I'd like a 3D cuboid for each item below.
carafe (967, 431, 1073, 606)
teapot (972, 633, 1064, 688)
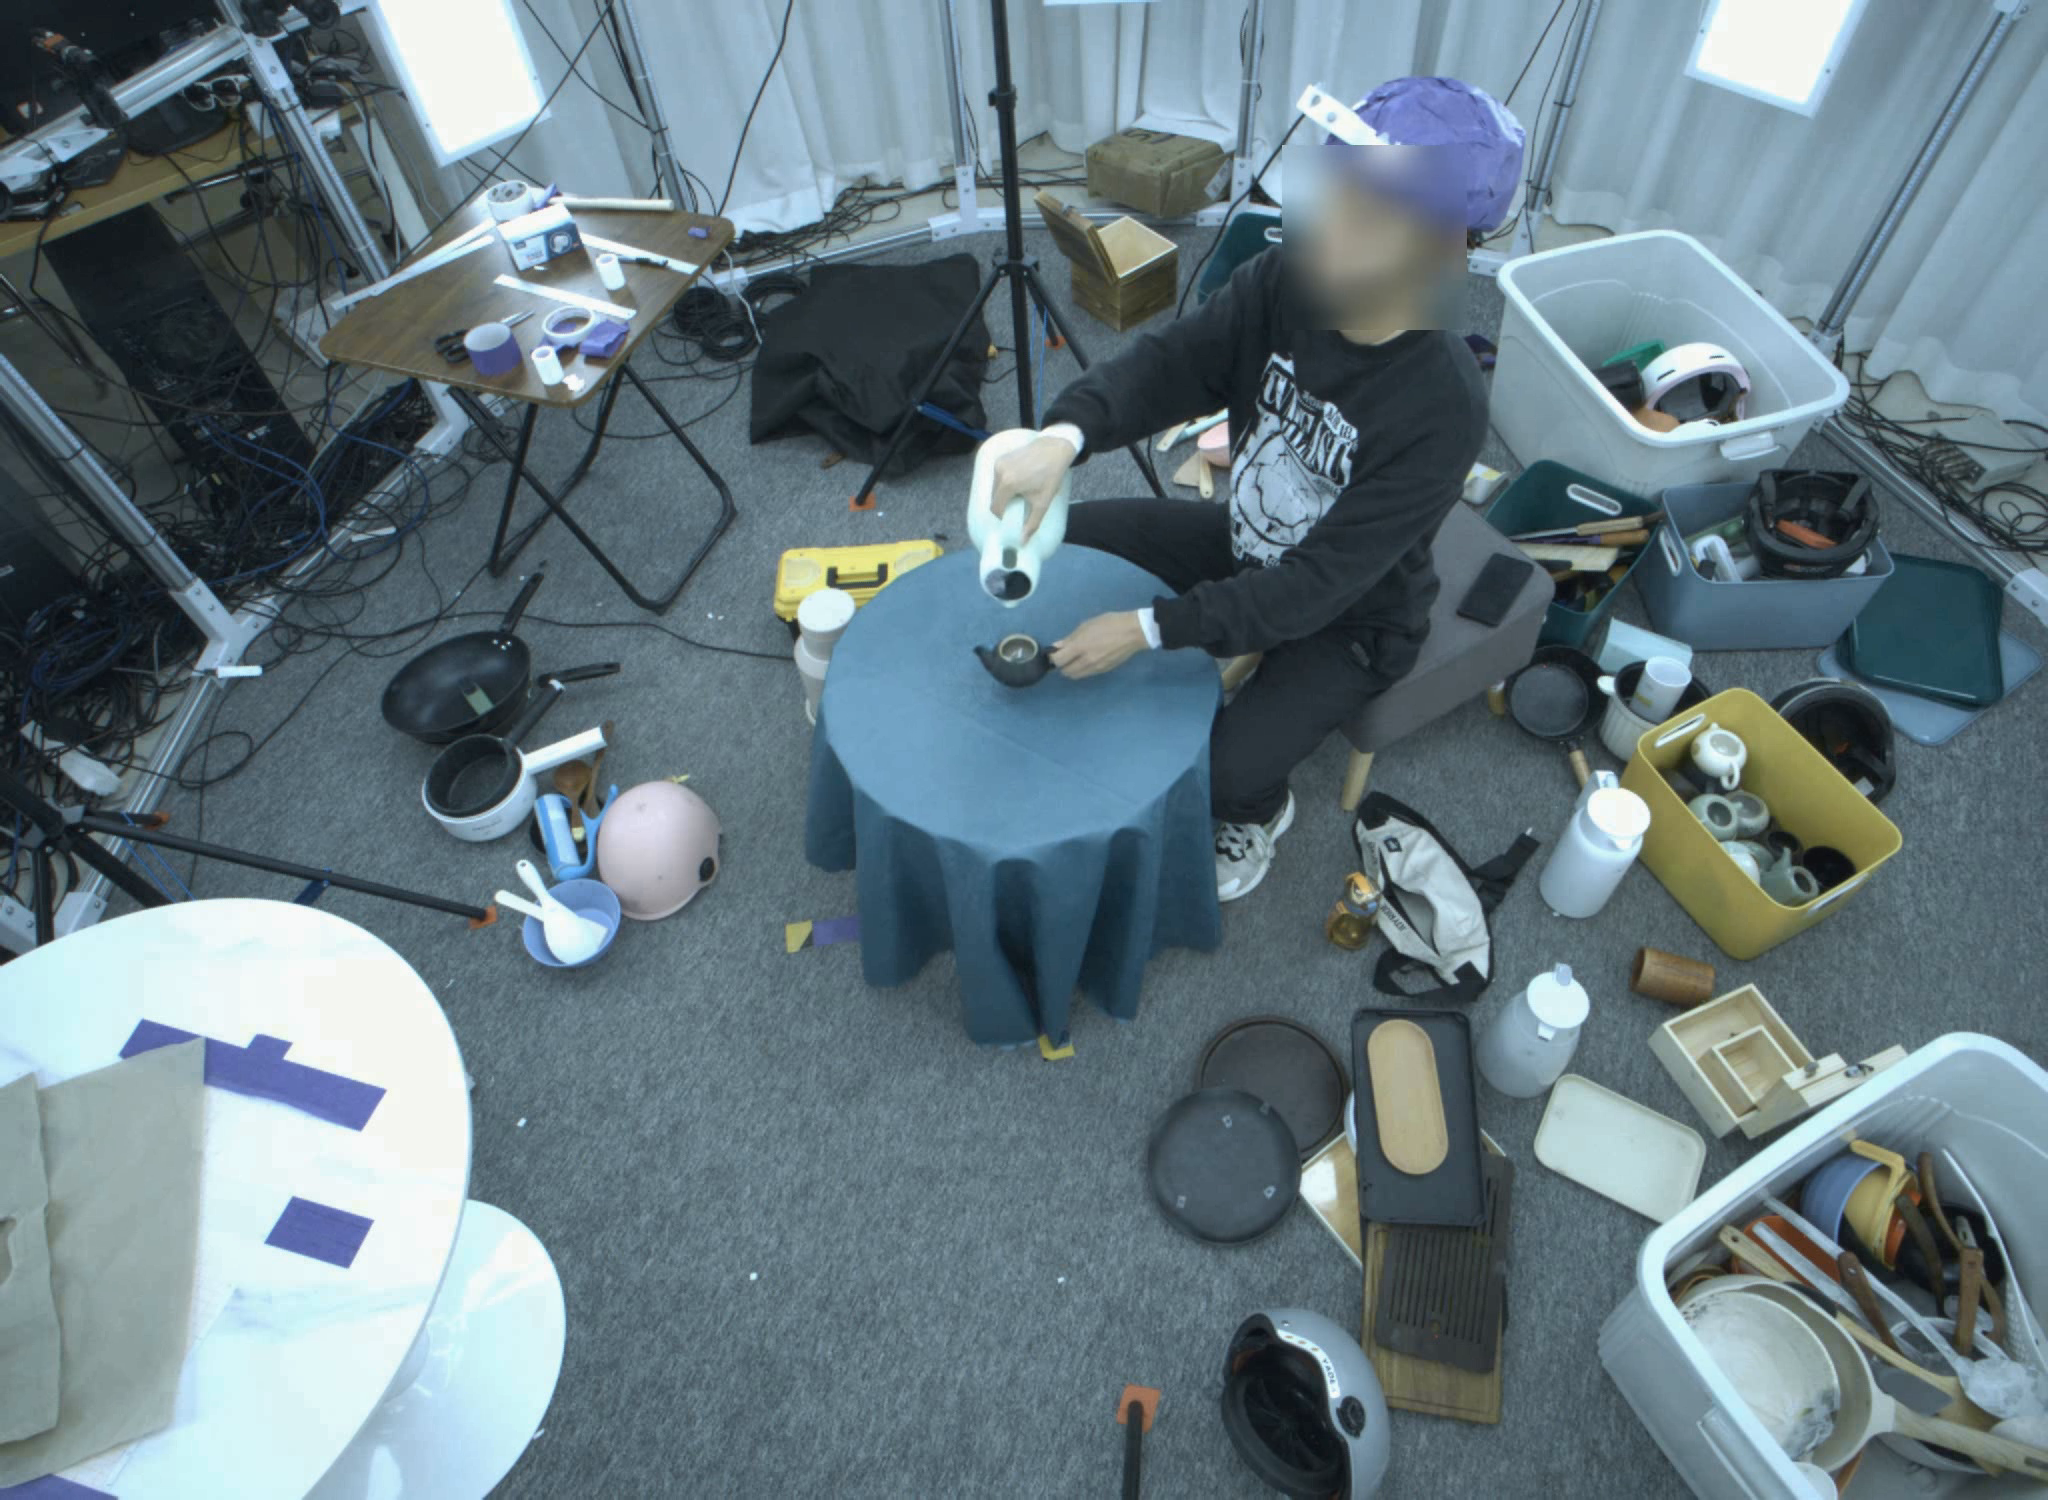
[{"bbox_3d":[-0.011,-0.336,1.719,0.144,0.188,0.254,7,51,0],"label":"carafe"},{"bbox_3d":[-0.008,-0.133,1.807,0.133,0.053,0.090,-1,54,1],"label":"teapot"}]
